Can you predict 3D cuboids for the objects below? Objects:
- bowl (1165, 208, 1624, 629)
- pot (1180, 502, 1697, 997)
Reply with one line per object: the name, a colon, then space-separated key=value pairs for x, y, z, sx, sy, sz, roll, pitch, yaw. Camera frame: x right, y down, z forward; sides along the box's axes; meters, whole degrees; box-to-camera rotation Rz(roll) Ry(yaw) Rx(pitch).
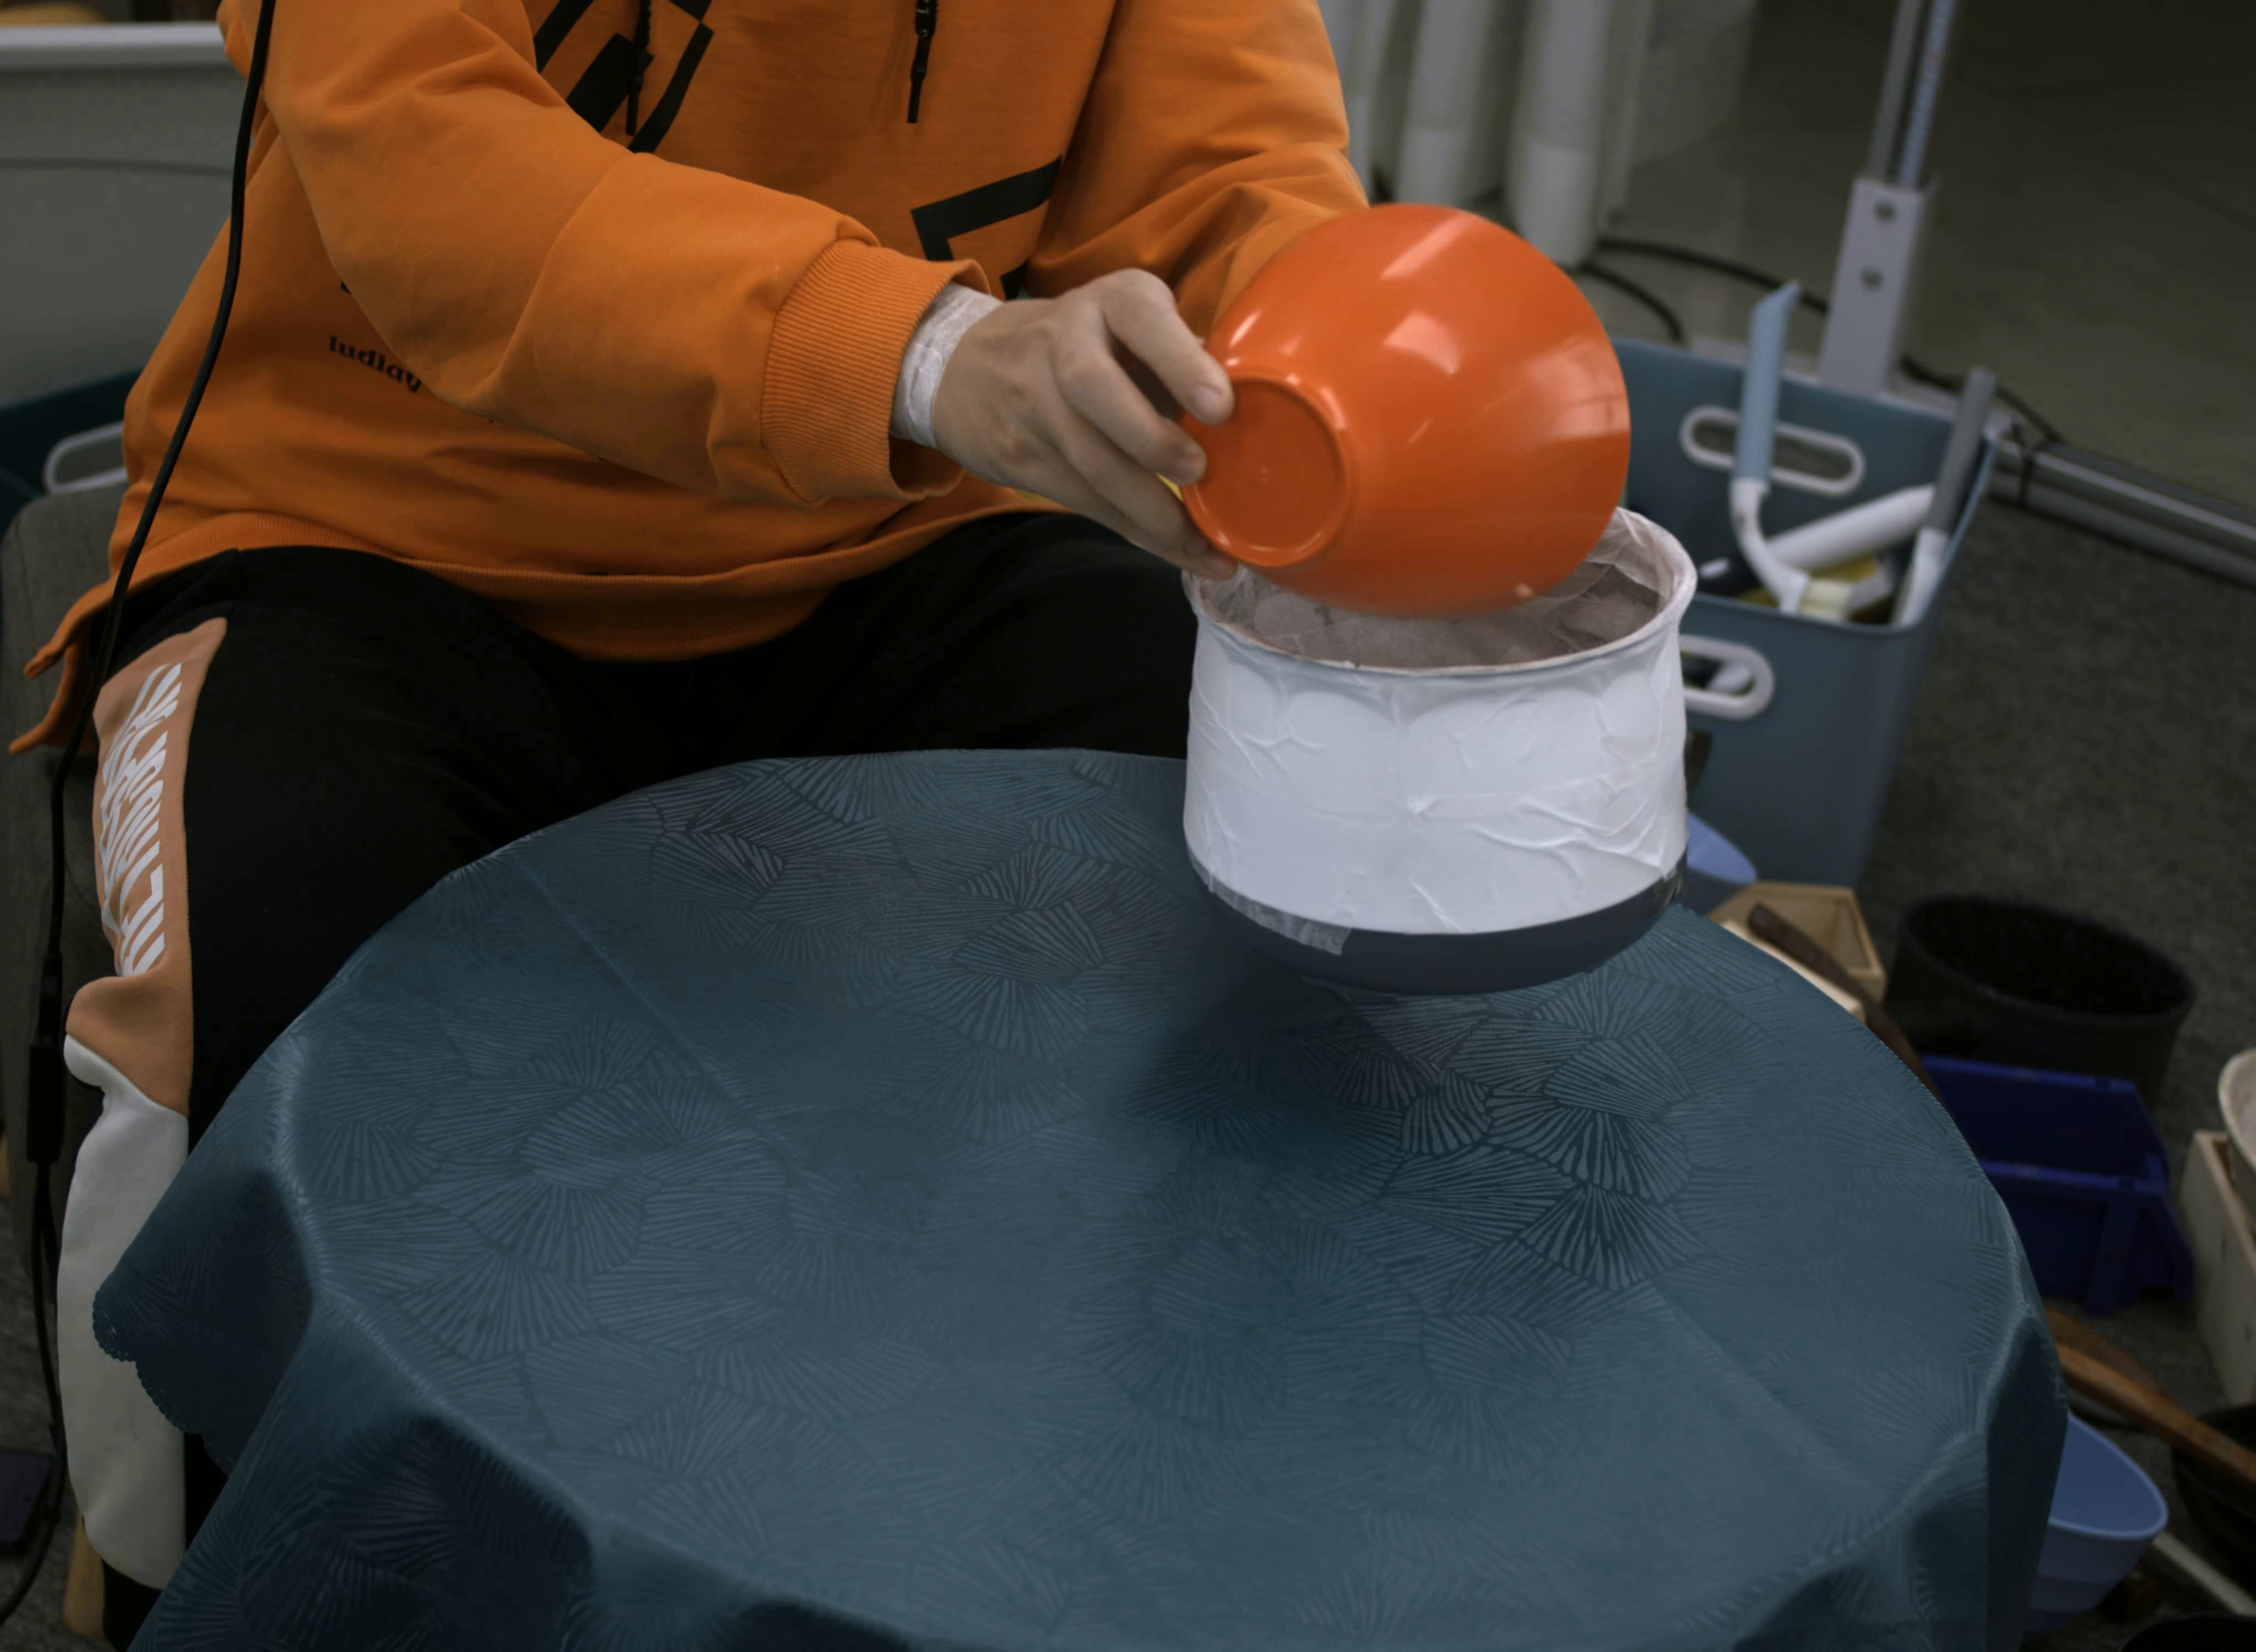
bowl: x=0.077 y=-0.126 z=1.775 sx=0.149 sy=0.147 sz=0.104 roll=20 pitch=25 yaw=24
pot: x=0.101 y=-0.042 z=1.874 sx=0.178 sy=0.136 sz=0.235 roll=-5 pitch=25 yaw=-10
